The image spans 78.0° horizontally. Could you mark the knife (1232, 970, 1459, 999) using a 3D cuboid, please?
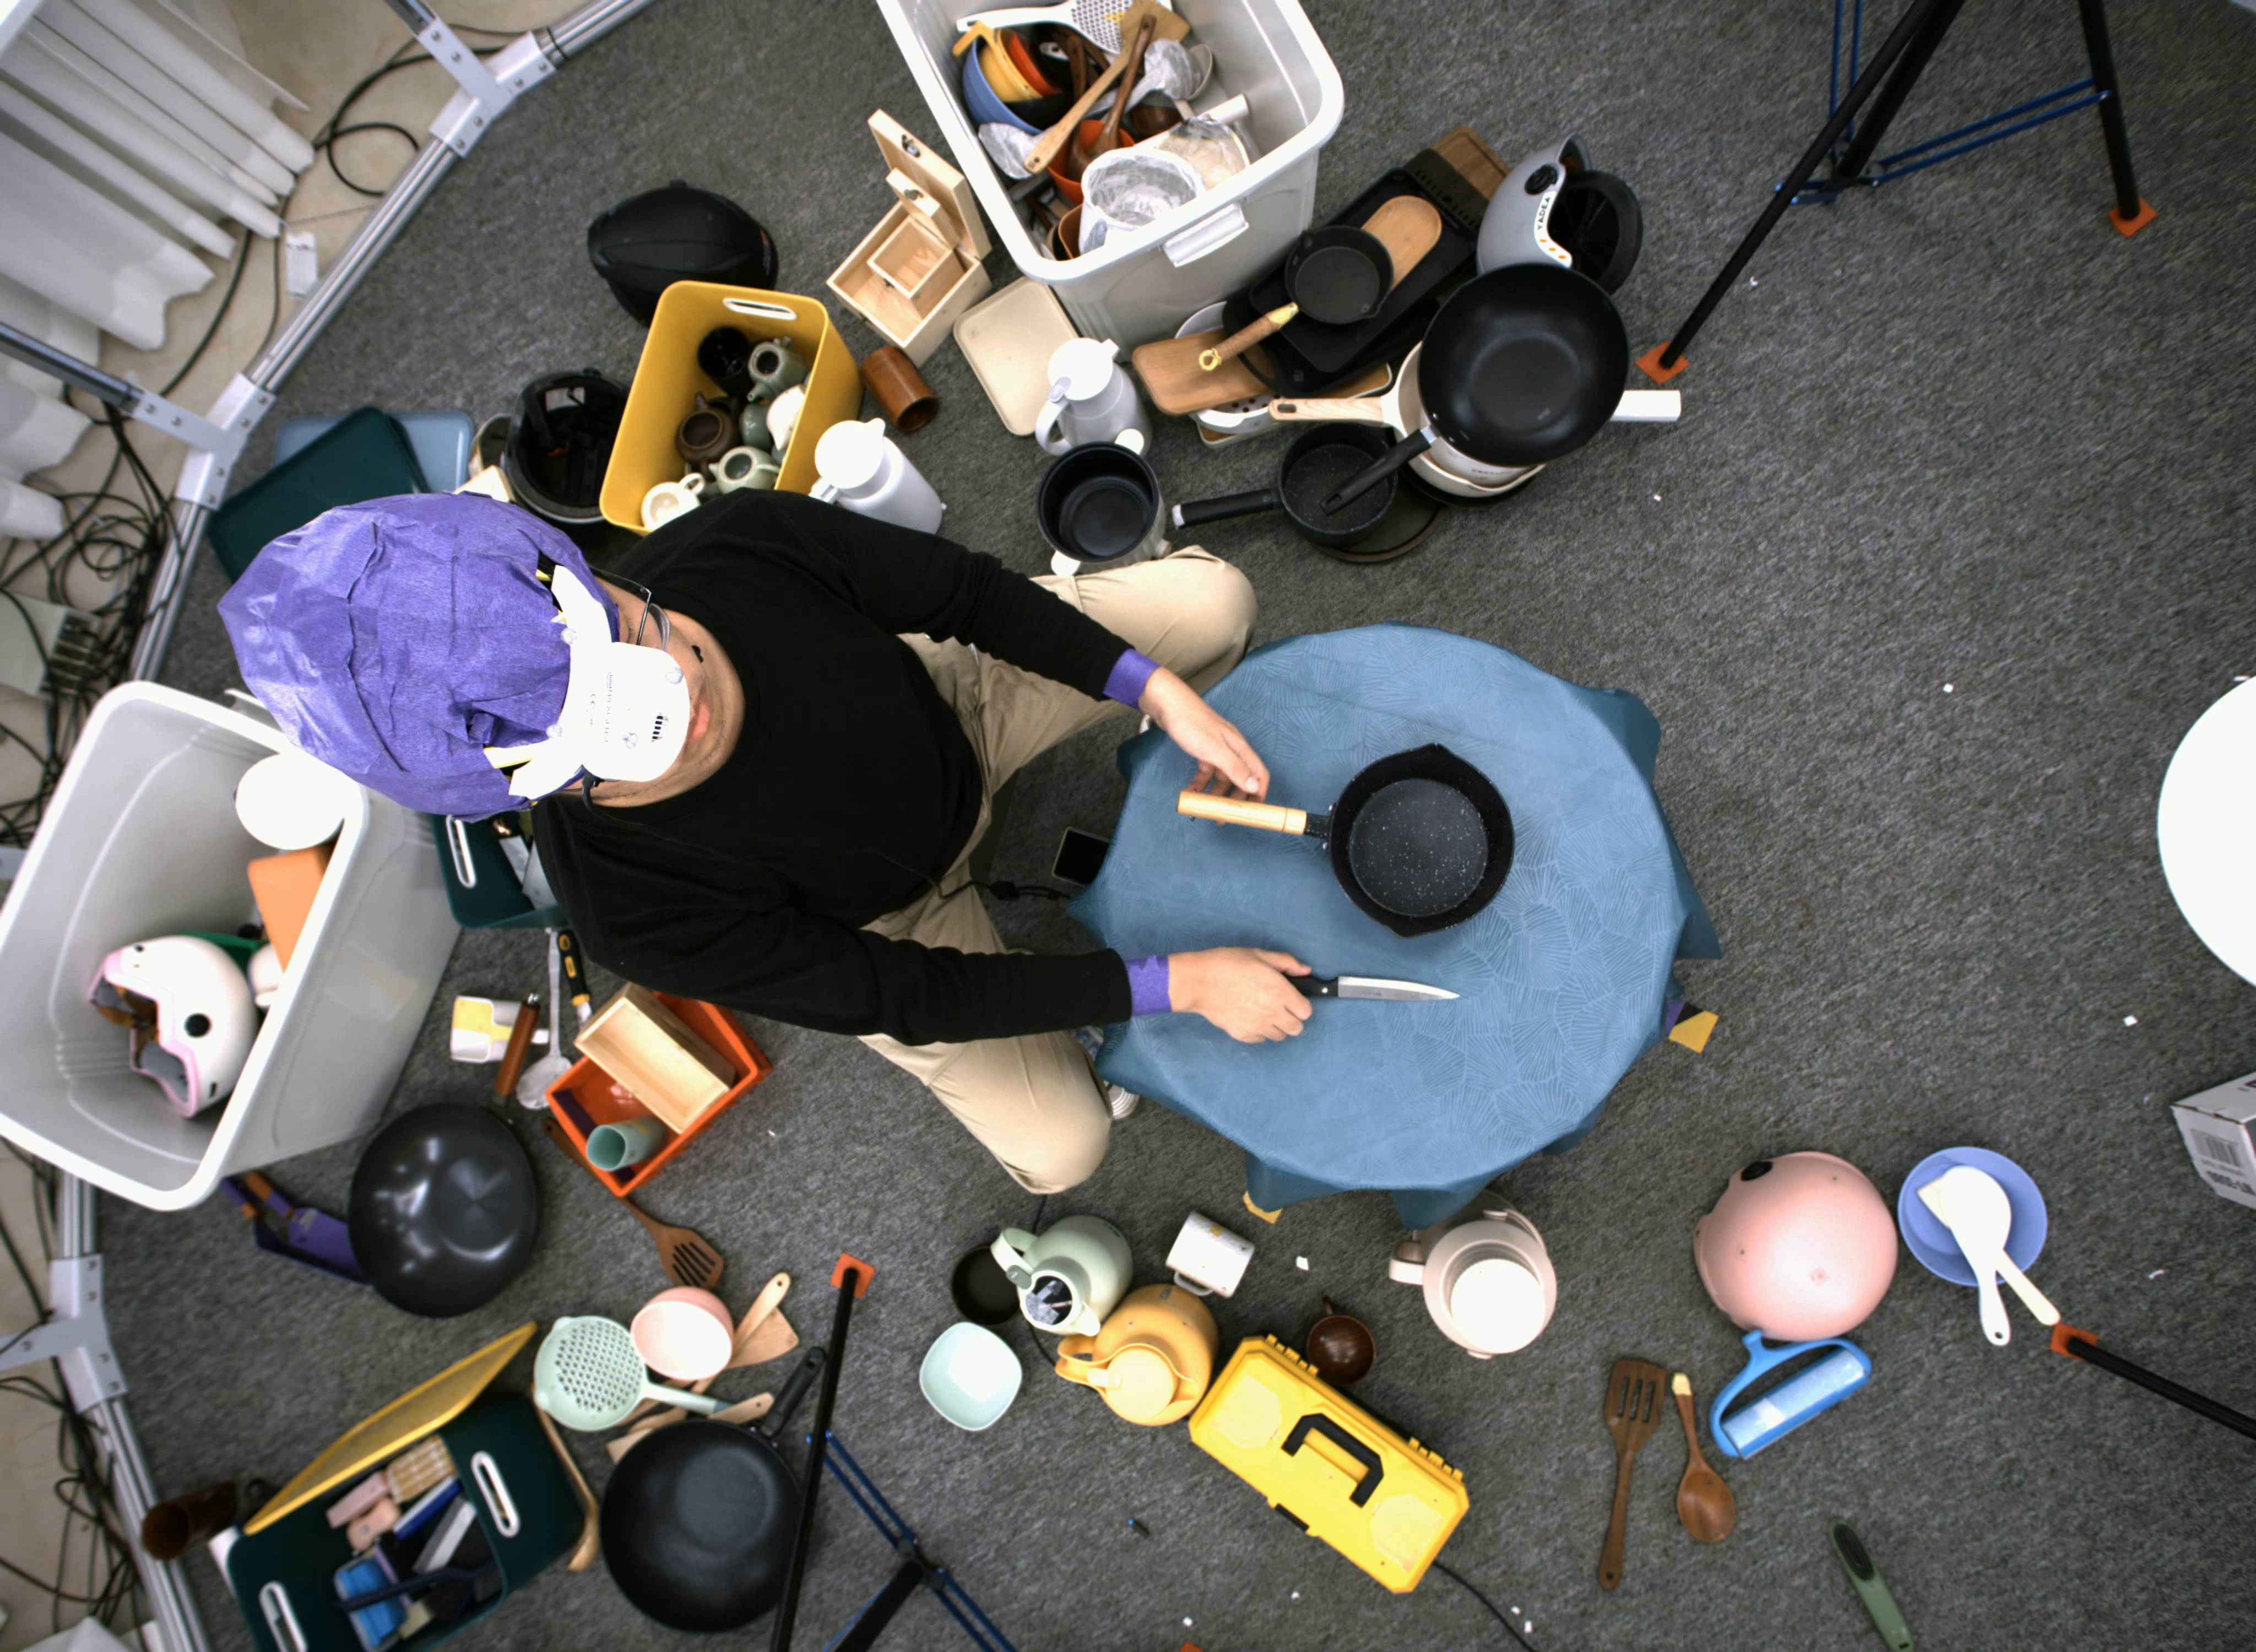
[{"bbox_3d":[0.228,0.168,1.456,0.239,0.016,0.025,3,102,7],"label":"knife"}]

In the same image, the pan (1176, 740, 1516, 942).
[{"bbox_3d":[0.220,0.005,1.420,0.343,0.108,0.207,9,89,10],"label":"pan"}]
